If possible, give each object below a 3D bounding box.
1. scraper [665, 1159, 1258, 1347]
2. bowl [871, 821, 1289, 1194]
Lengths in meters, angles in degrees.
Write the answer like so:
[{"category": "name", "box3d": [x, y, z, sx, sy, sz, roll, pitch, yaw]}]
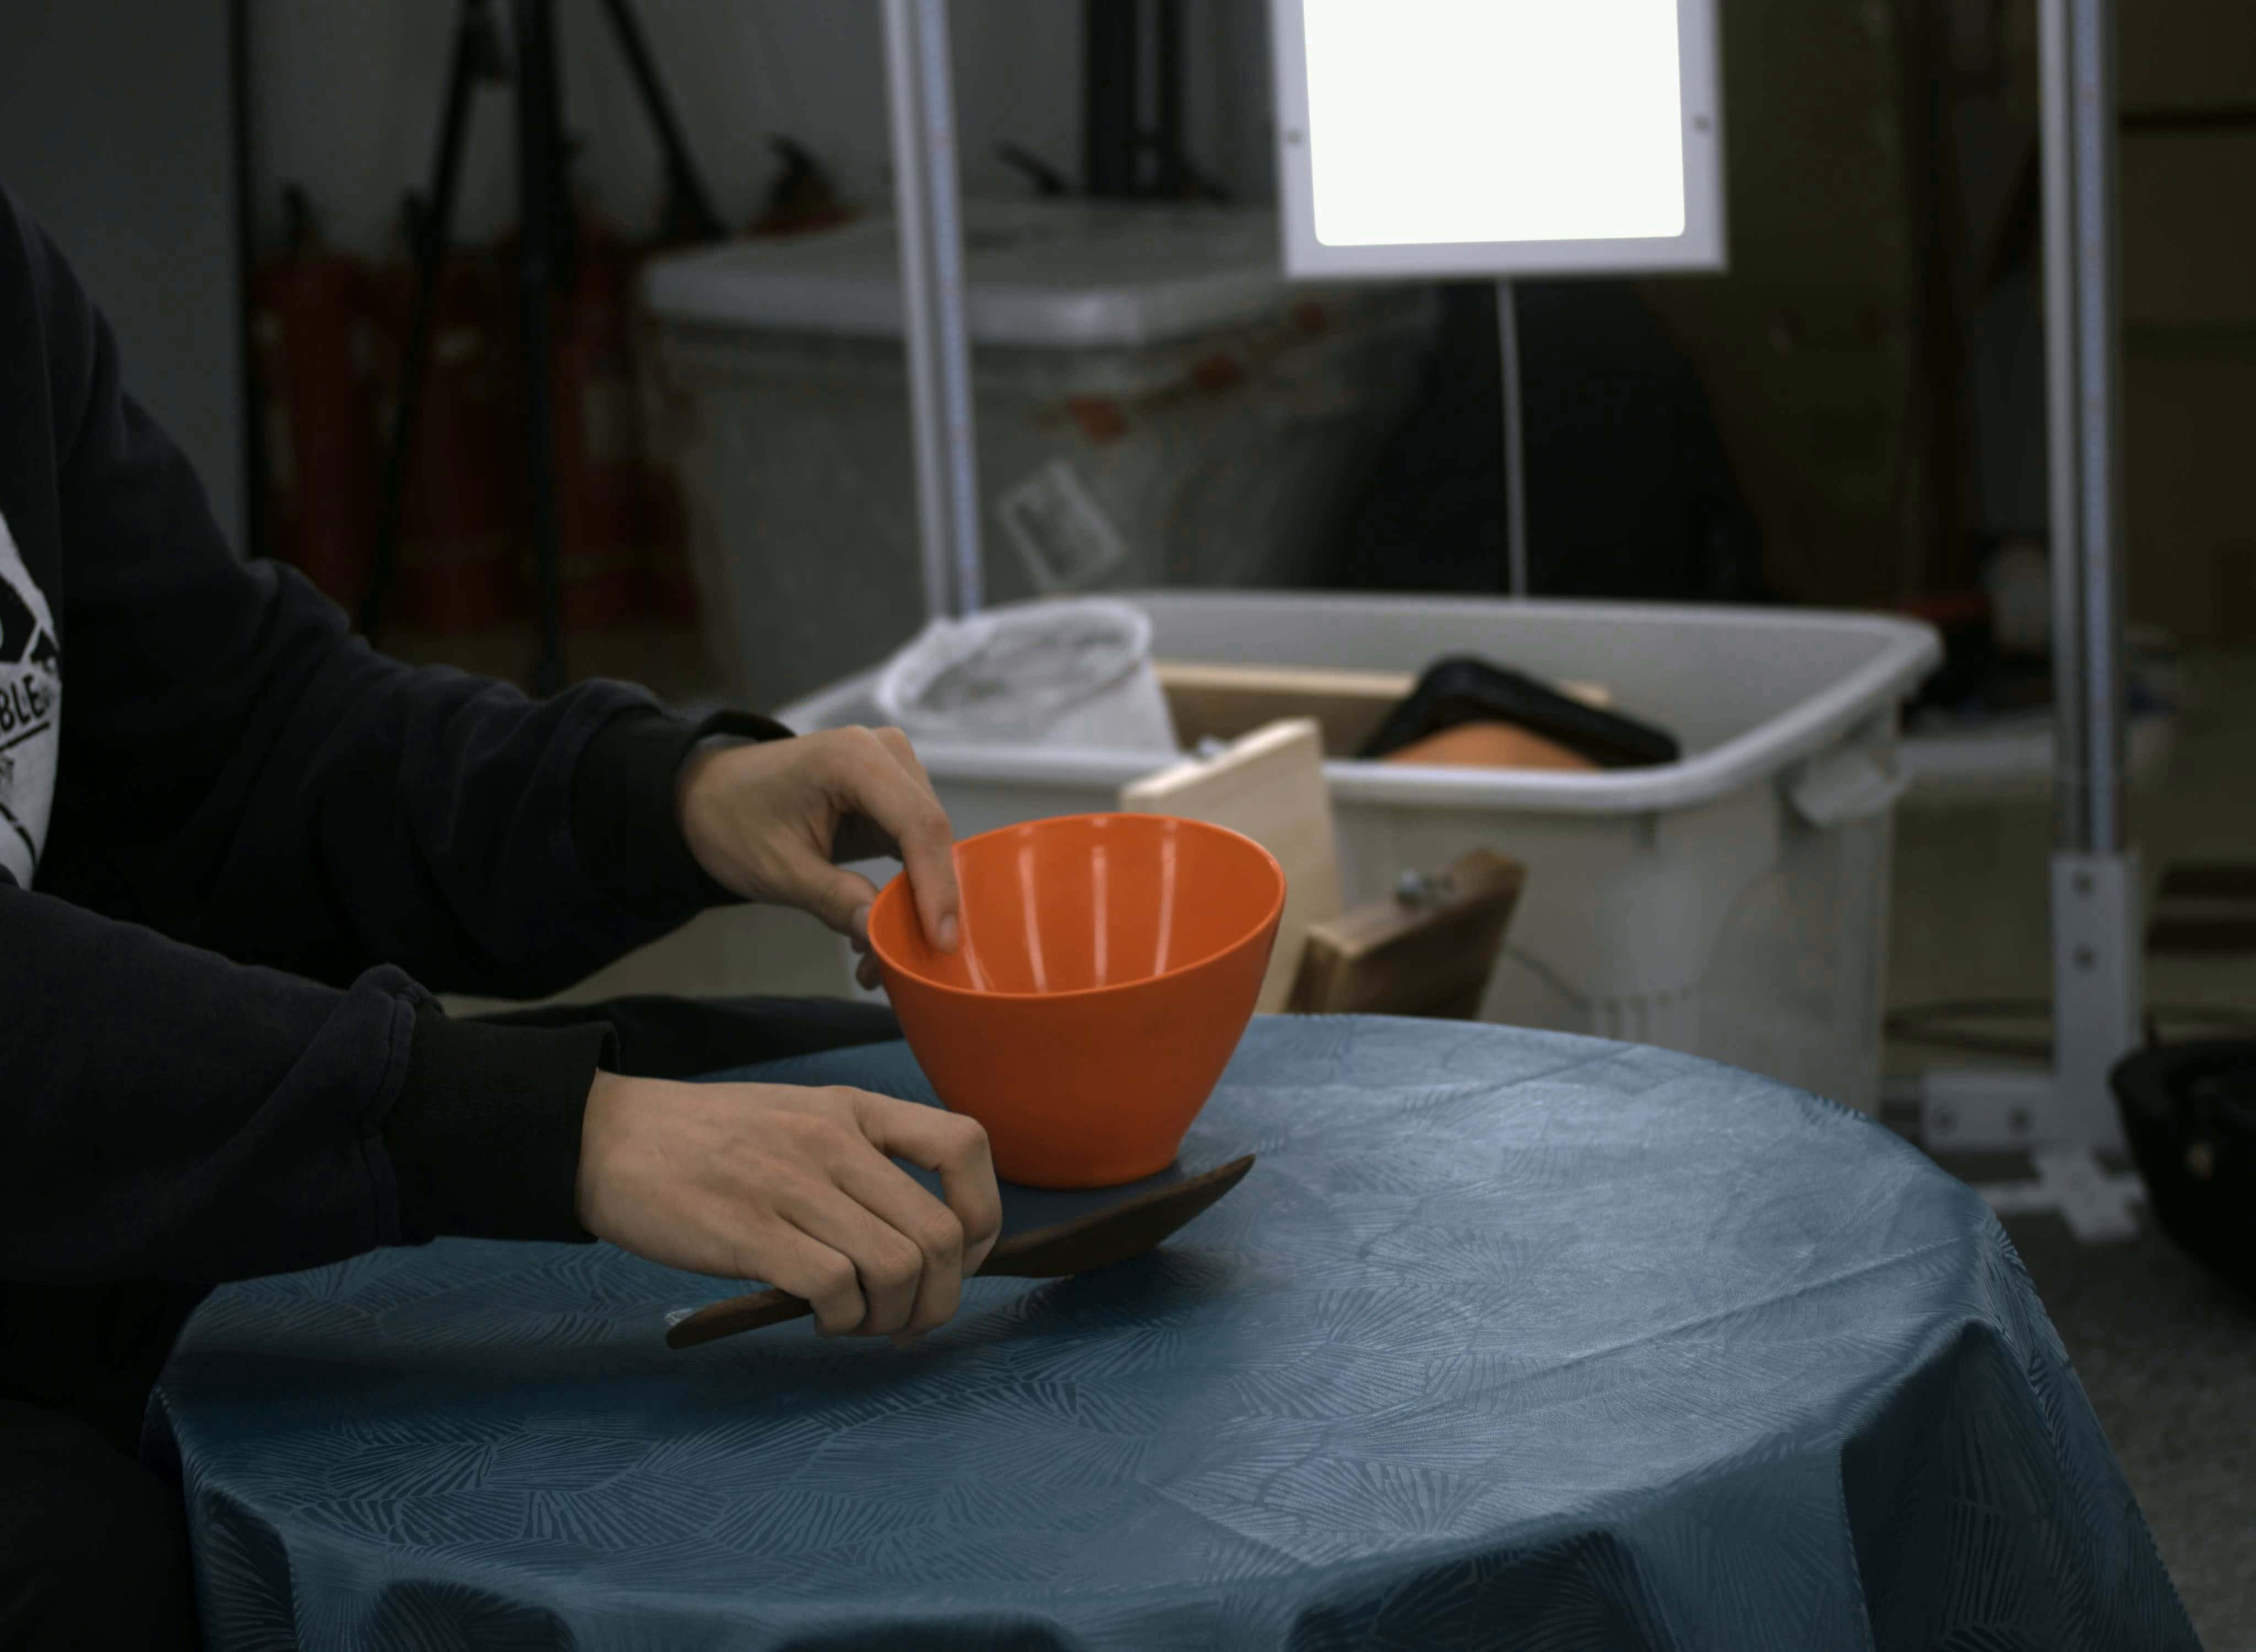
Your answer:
[{"category": "scraper", "box3d": [-0.054, 0.140, 1.758, 0.206, 0.011, 0.077, -10, -18, -32]}, {"category": "bowl", "box3d": [-0.015, 0.067, 1.933, 0.147, 0.105, 0.148, -3, 14, -1]}]
